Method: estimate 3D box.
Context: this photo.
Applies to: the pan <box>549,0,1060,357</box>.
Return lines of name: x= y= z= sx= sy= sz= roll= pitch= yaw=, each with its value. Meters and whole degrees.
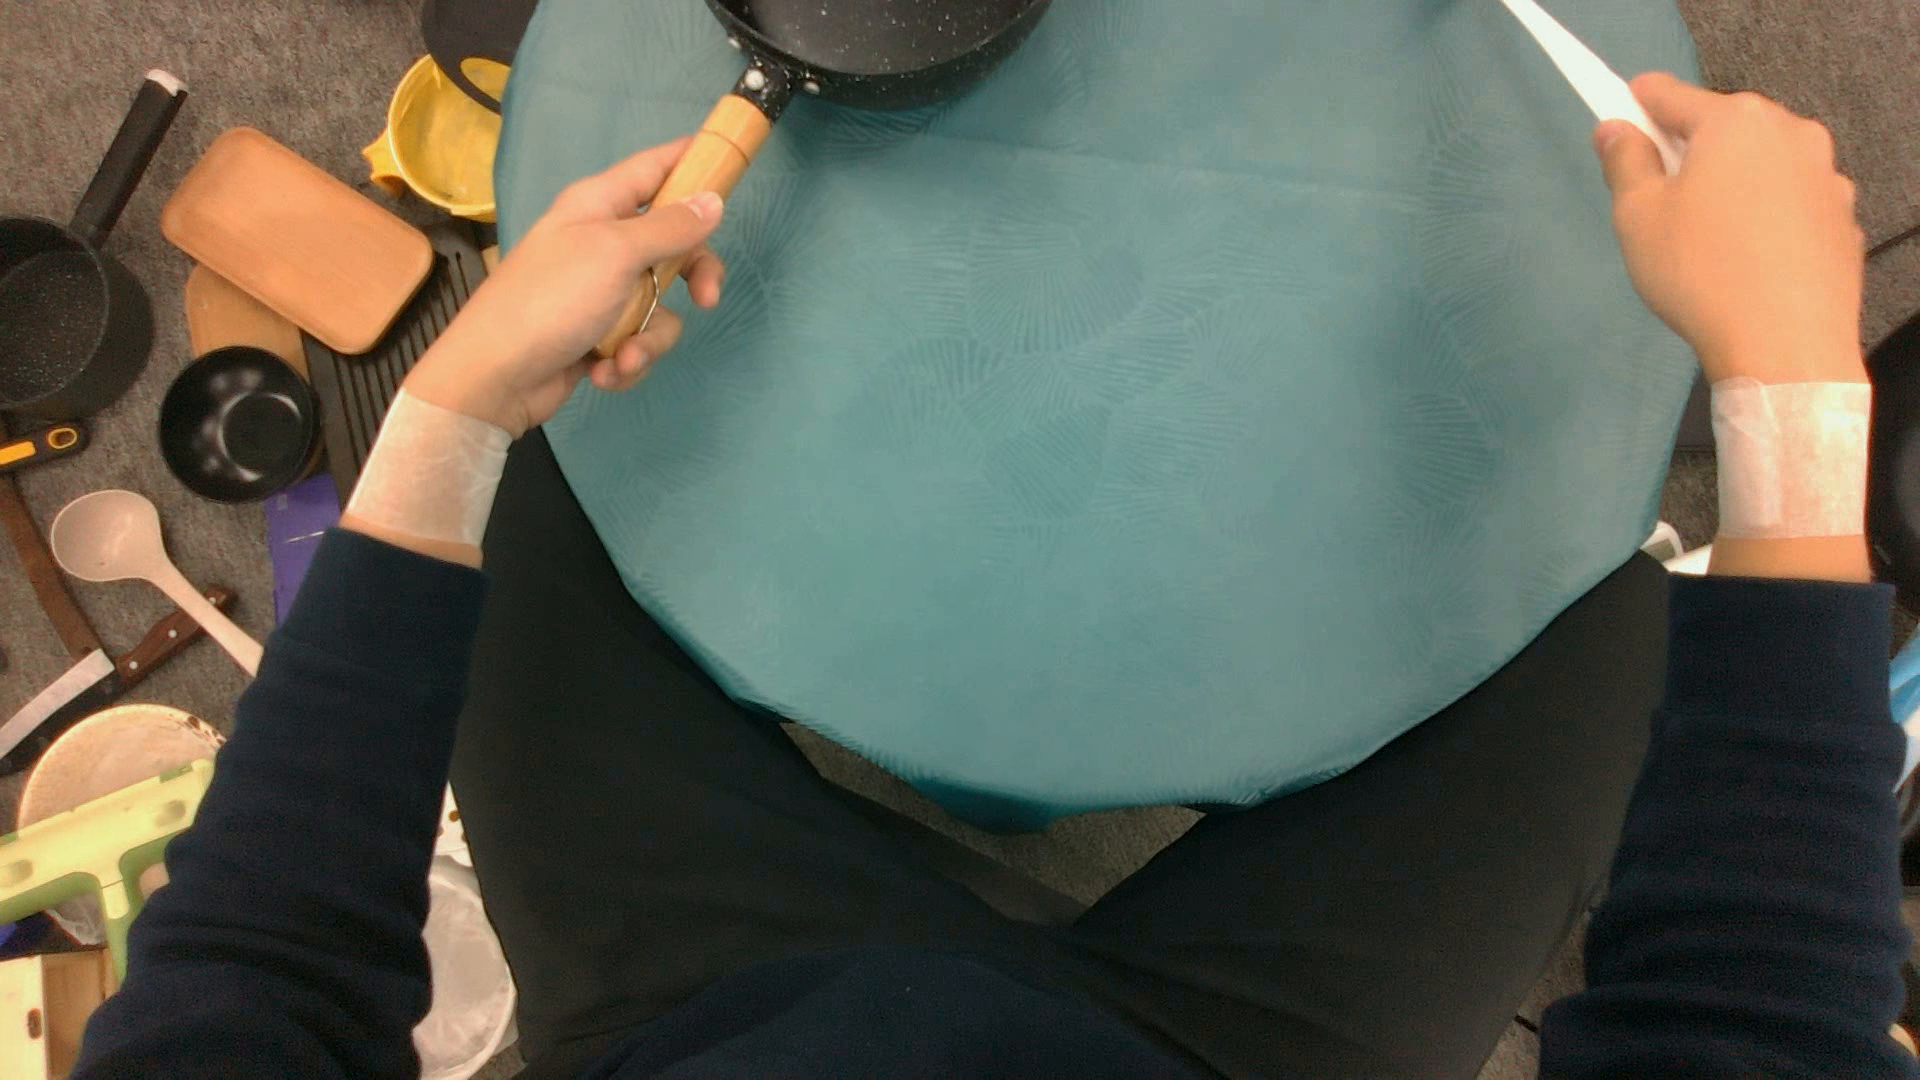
pan: x=-0.079 y=-0.224 z=0.632 sx=0.207 sy=0.108 sz=0.343 roll=27 pitch=85 yaw=1

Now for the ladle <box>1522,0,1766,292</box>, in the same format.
ladle: x=0.286 y=-0.228 z=0.598 sx=0.090 sy=0.069 sz=0.294 roll=24 pitch=42 yaw=-32
